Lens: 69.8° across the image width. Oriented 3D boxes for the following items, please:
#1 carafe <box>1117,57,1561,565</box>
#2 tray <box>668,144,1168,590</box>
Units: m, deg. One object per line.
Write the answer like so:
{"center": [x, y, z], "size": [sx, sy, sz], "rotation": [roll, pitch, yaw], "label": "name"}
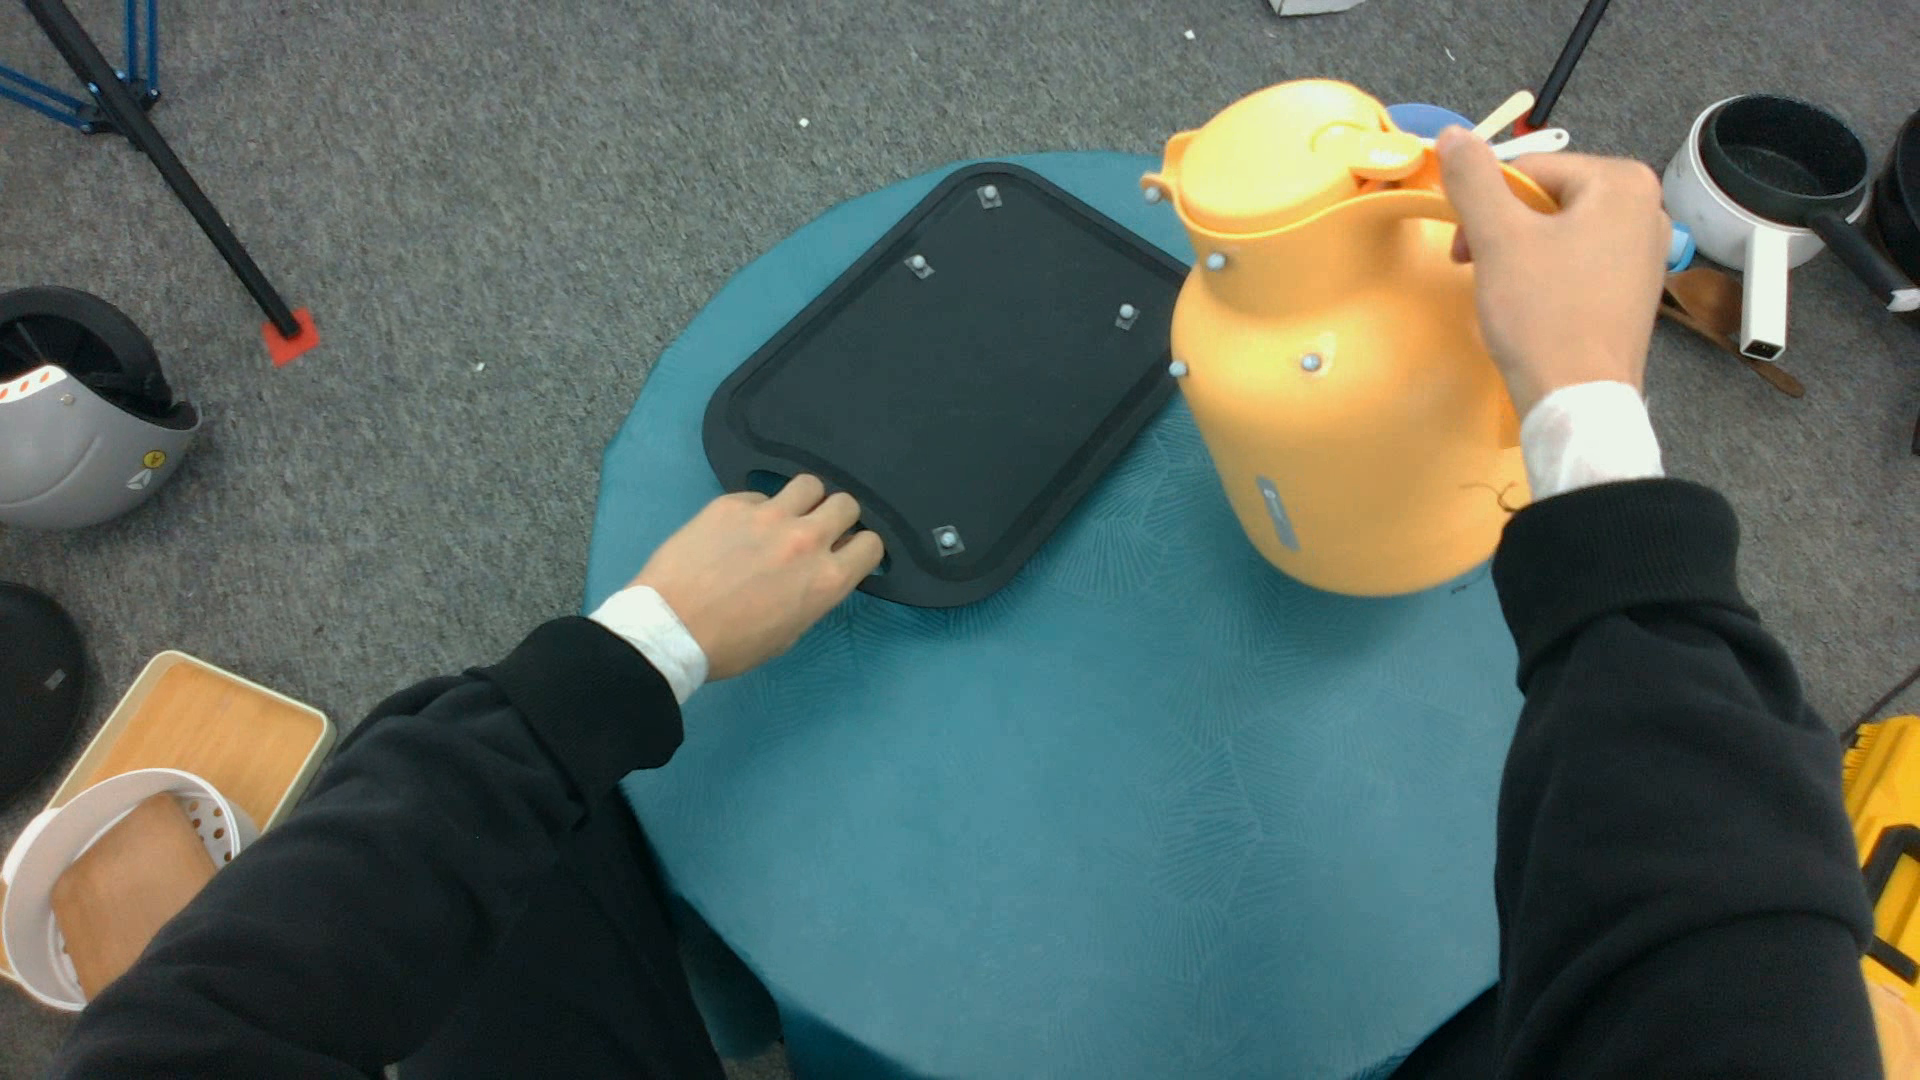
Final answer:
{"center": [0.190, -0.105, 0.673], "size": [0.202, 0.260, 0.164], "rotation": [23, 70, 40], "label": "carafe"}
{"center": [-0.015, -0.112, 0.820], "size": [0.211, 0.010, 0.327], "rotation": [35, 62, 13], "label": "tray"}
